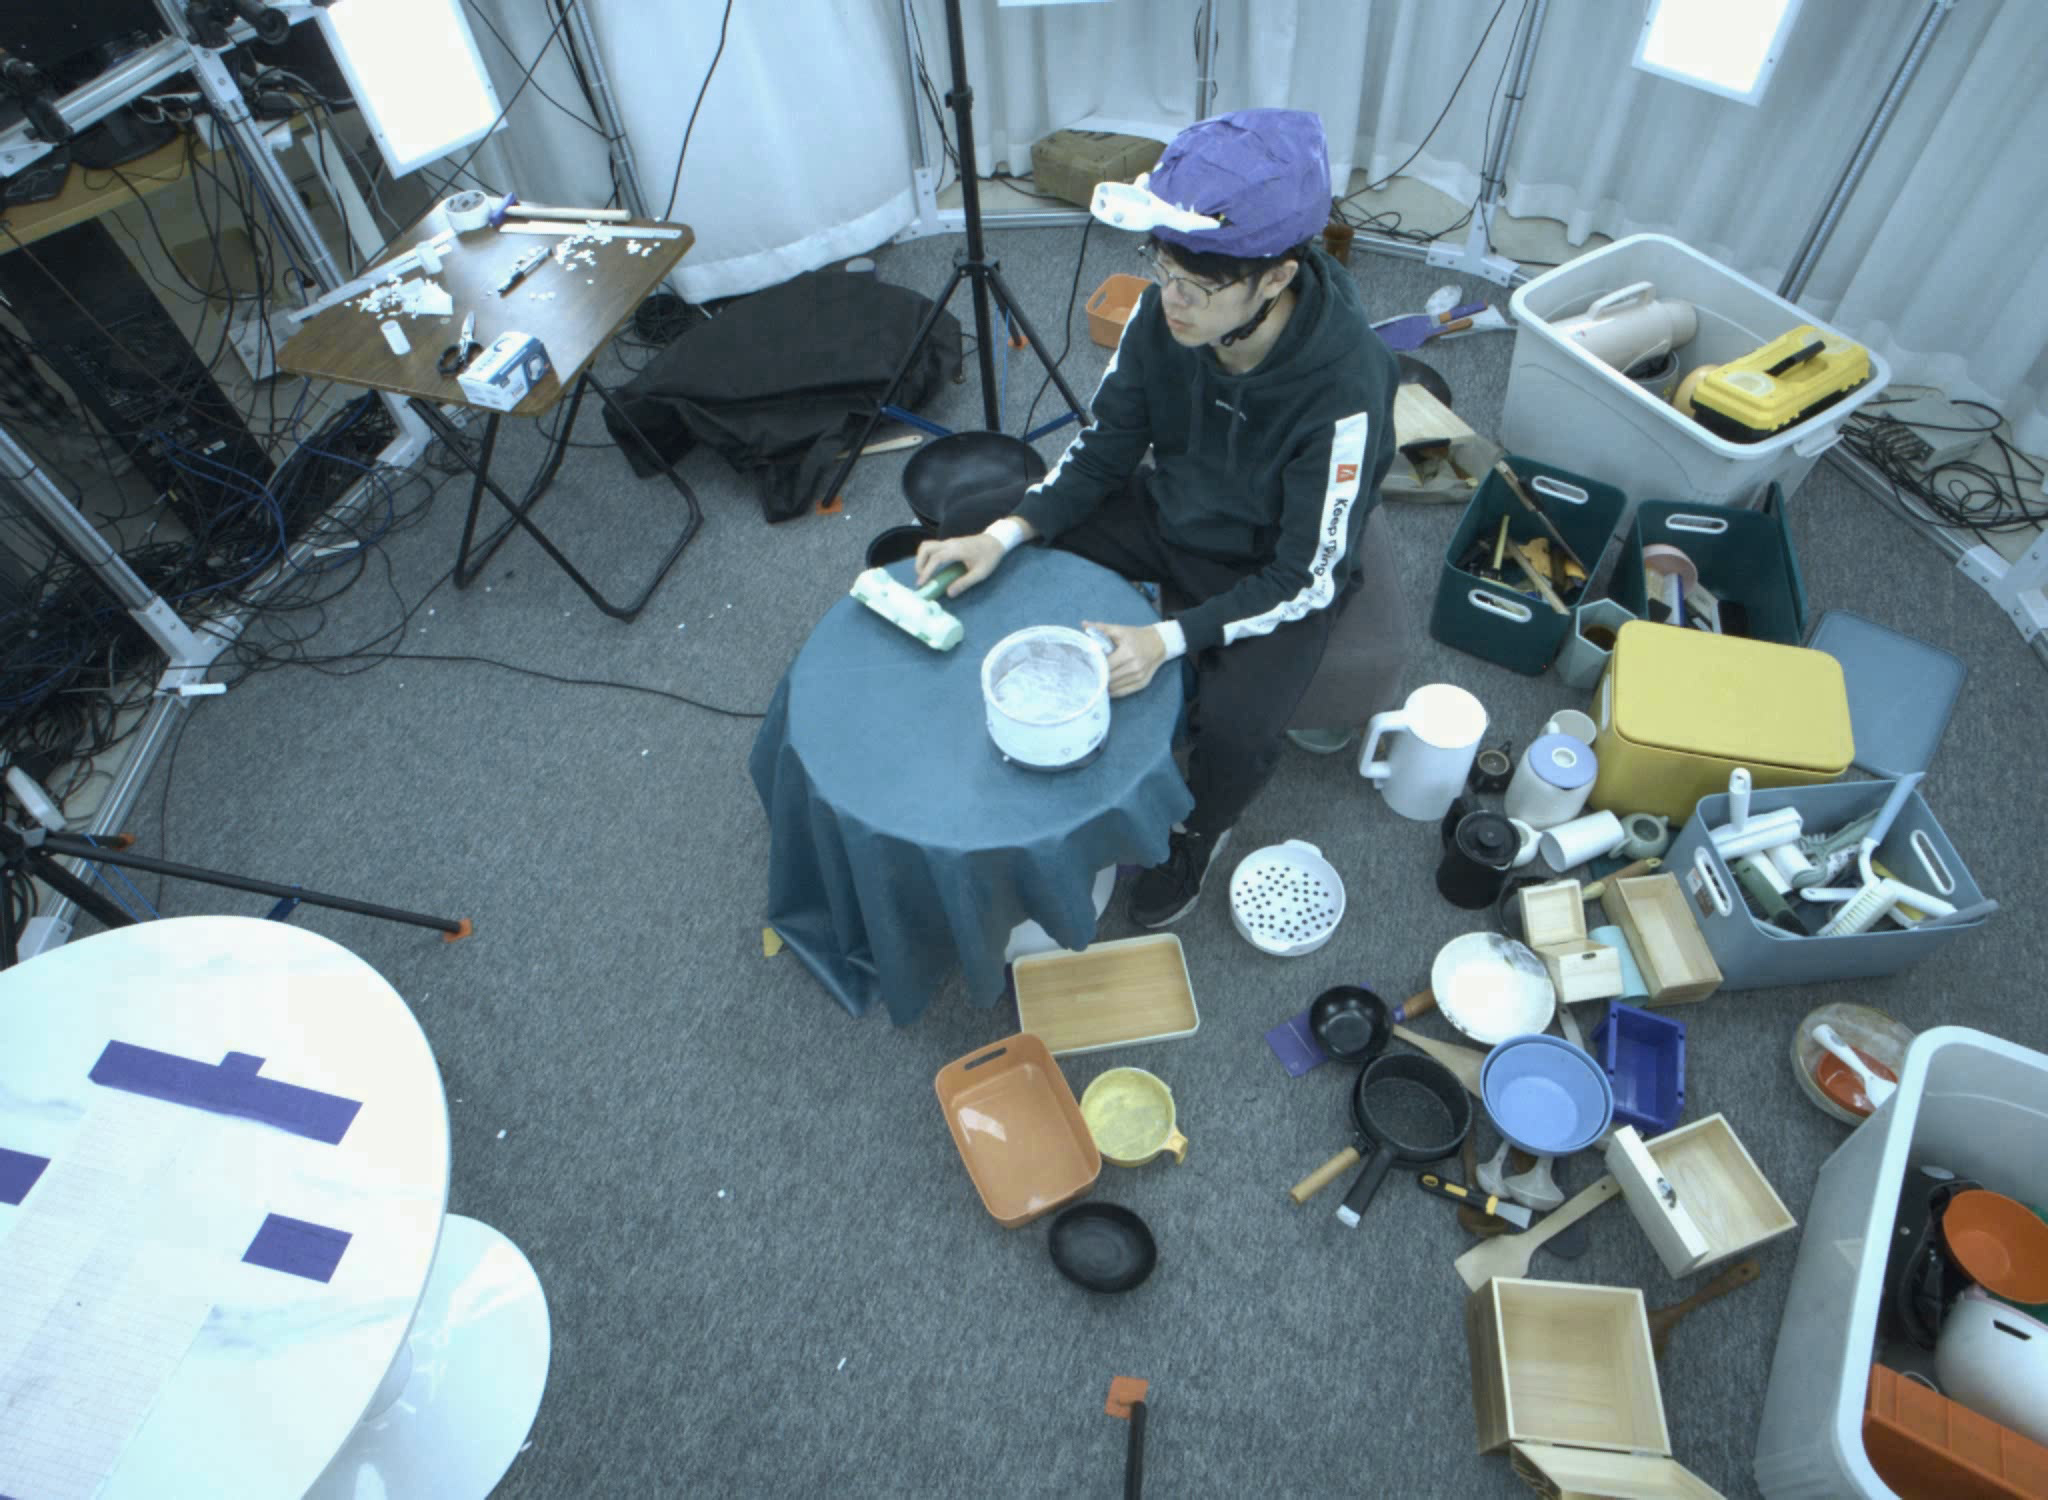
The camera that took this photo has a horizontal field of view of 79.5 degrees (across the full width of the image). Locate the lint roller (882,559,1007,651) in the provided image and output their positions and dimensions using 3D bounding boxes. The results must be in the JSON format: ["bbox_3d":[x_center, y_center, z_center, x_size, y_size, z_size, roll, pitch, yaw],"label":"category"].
[{"bbox_3d":[-0.097,-0.260,1.925,0.195,0.083,0.184,35,68,25],"label":"lint roller"}]

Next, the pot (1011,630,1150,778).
[{"bbox_3d":[0.093,-0.078,1.750,0.175,0.138,0.235,35,64,24],"label":"pot"}]
